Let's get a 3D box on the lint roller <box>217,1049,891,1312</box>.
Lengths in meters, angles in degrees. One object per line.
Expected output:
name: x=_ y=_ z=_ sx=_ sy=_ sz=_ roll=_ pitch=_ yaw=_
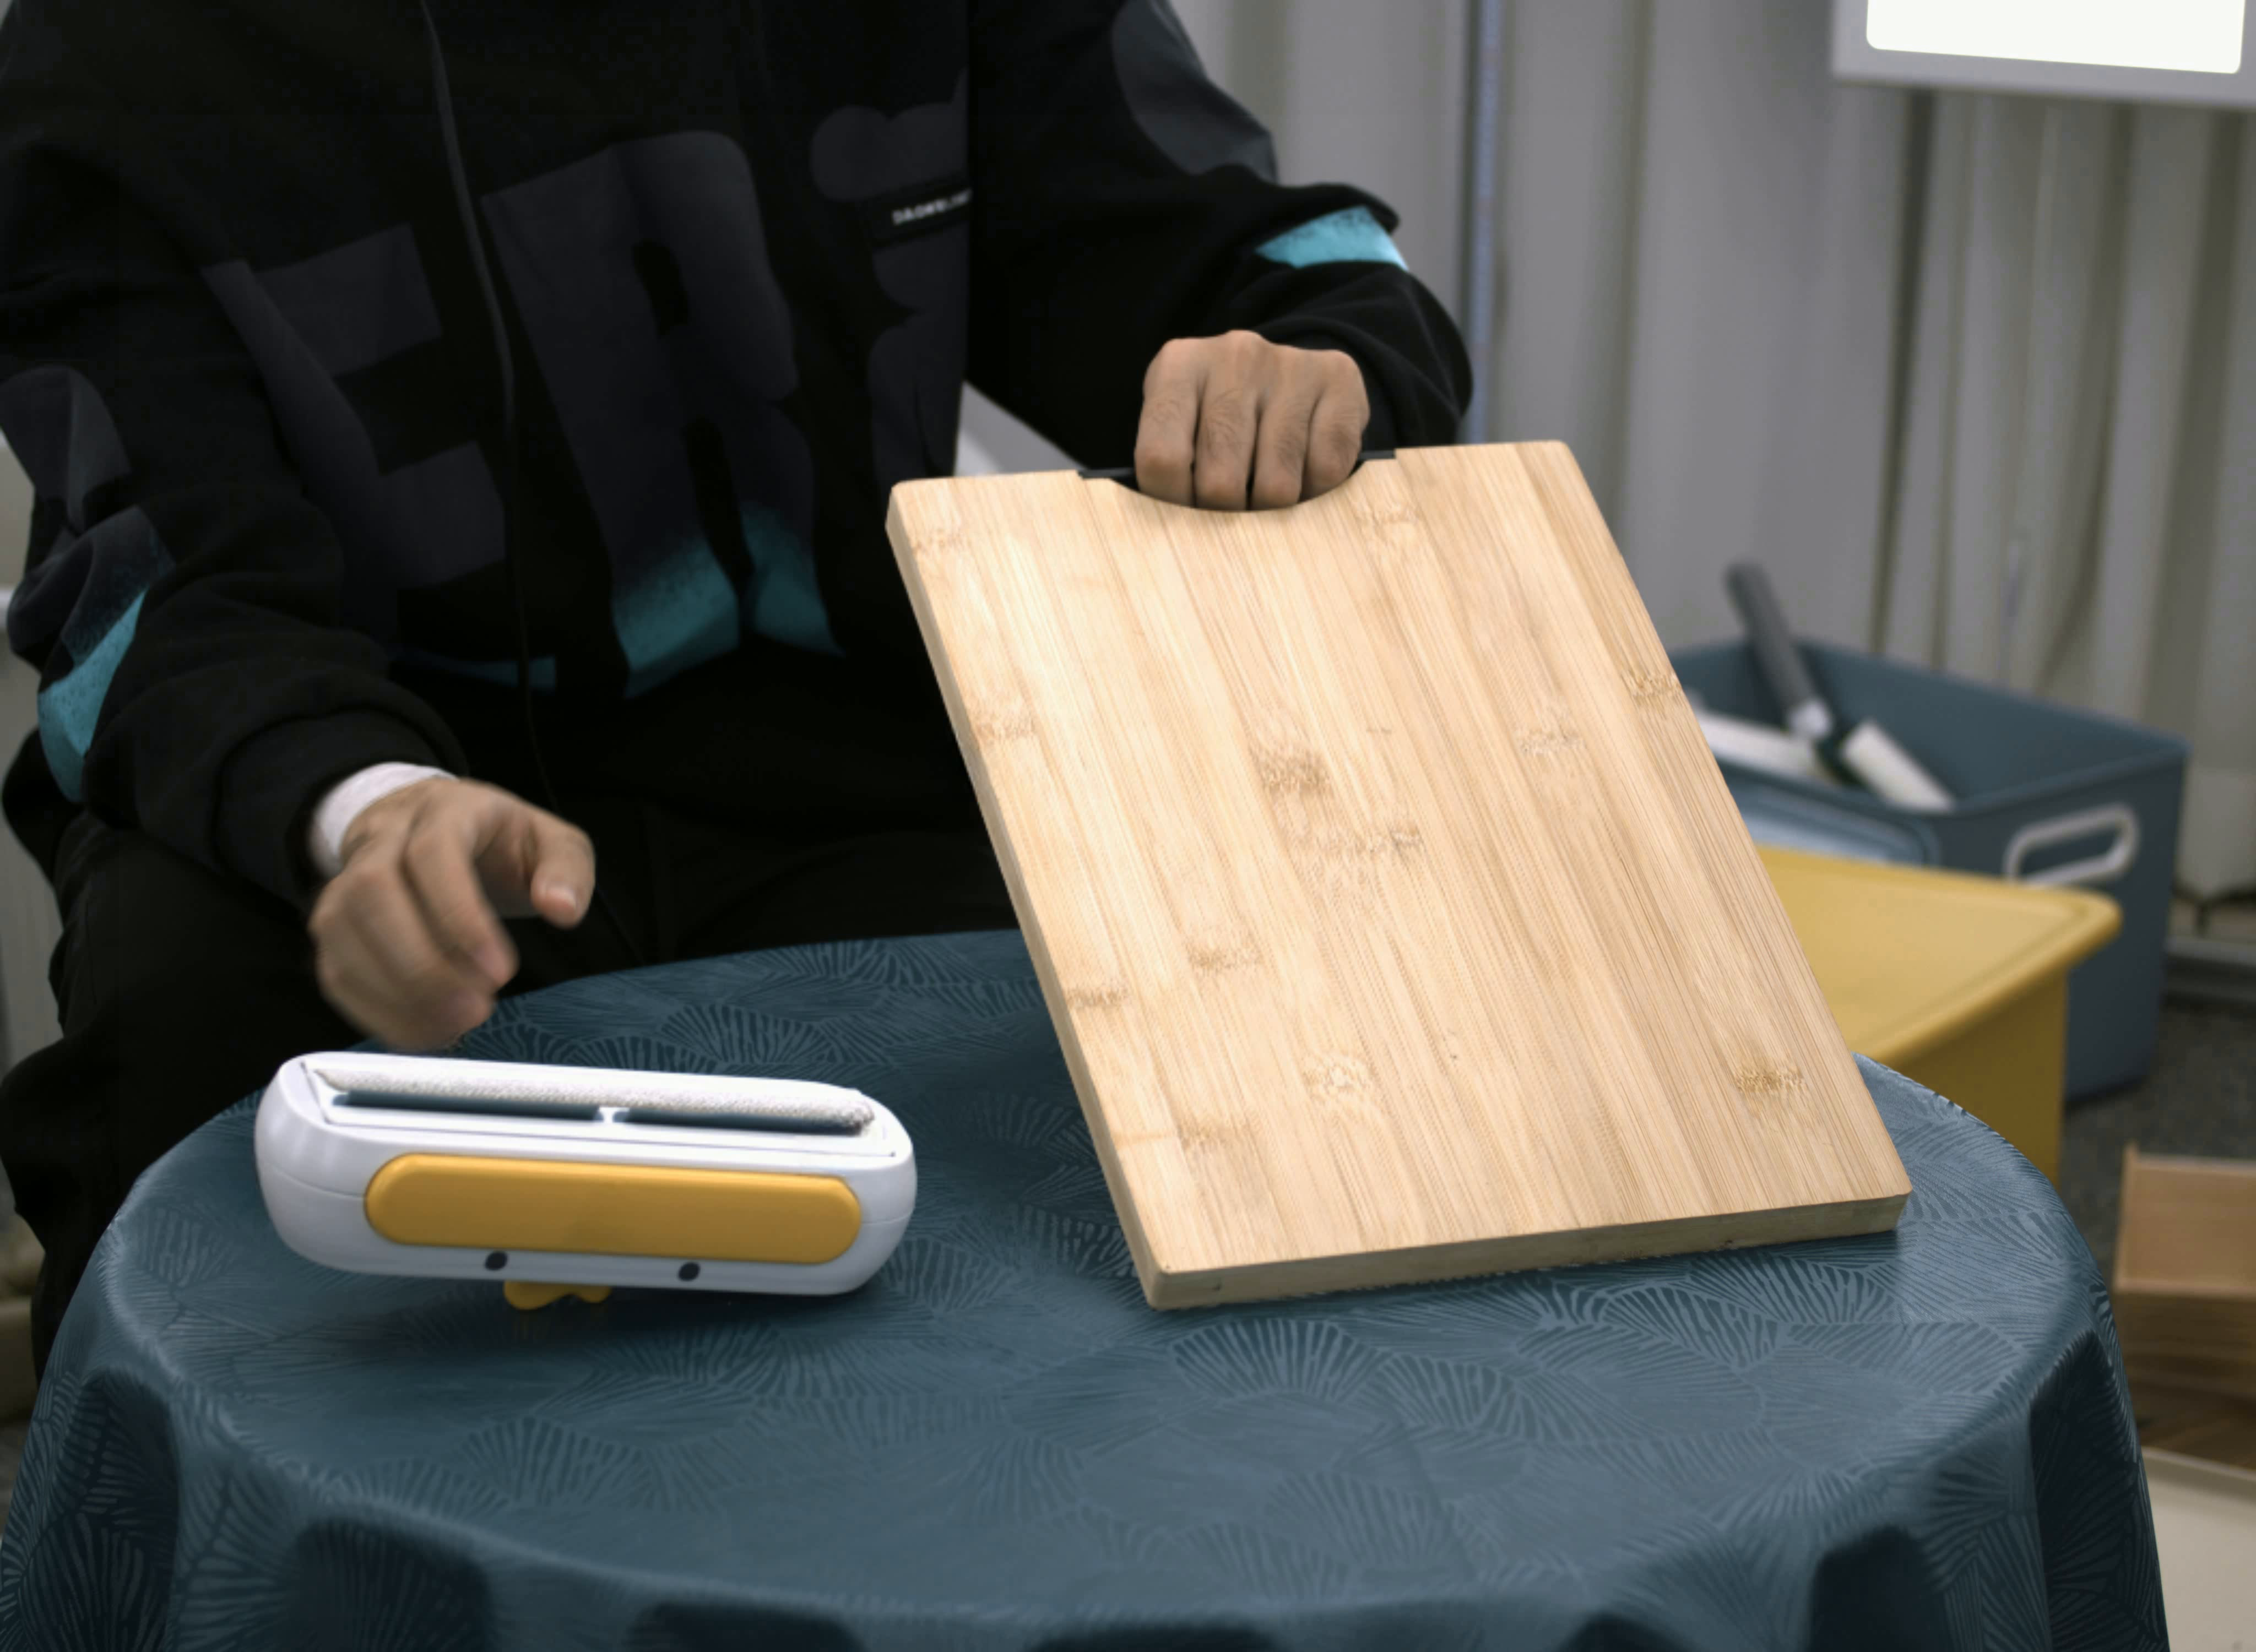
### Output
lint roller: x=-0.179 y=0.093 z=1.559 sx=0.193 sy=0.074 sz=0.190 roll=1 pitch=13 yaw=-18

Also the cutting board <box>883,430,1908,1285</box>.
cutting board: x=0.076 y=0.001 z=1.662 sx=0.251 sy=0.024 sz=0.344 roll=-5 pitch=47 yaw=-18
